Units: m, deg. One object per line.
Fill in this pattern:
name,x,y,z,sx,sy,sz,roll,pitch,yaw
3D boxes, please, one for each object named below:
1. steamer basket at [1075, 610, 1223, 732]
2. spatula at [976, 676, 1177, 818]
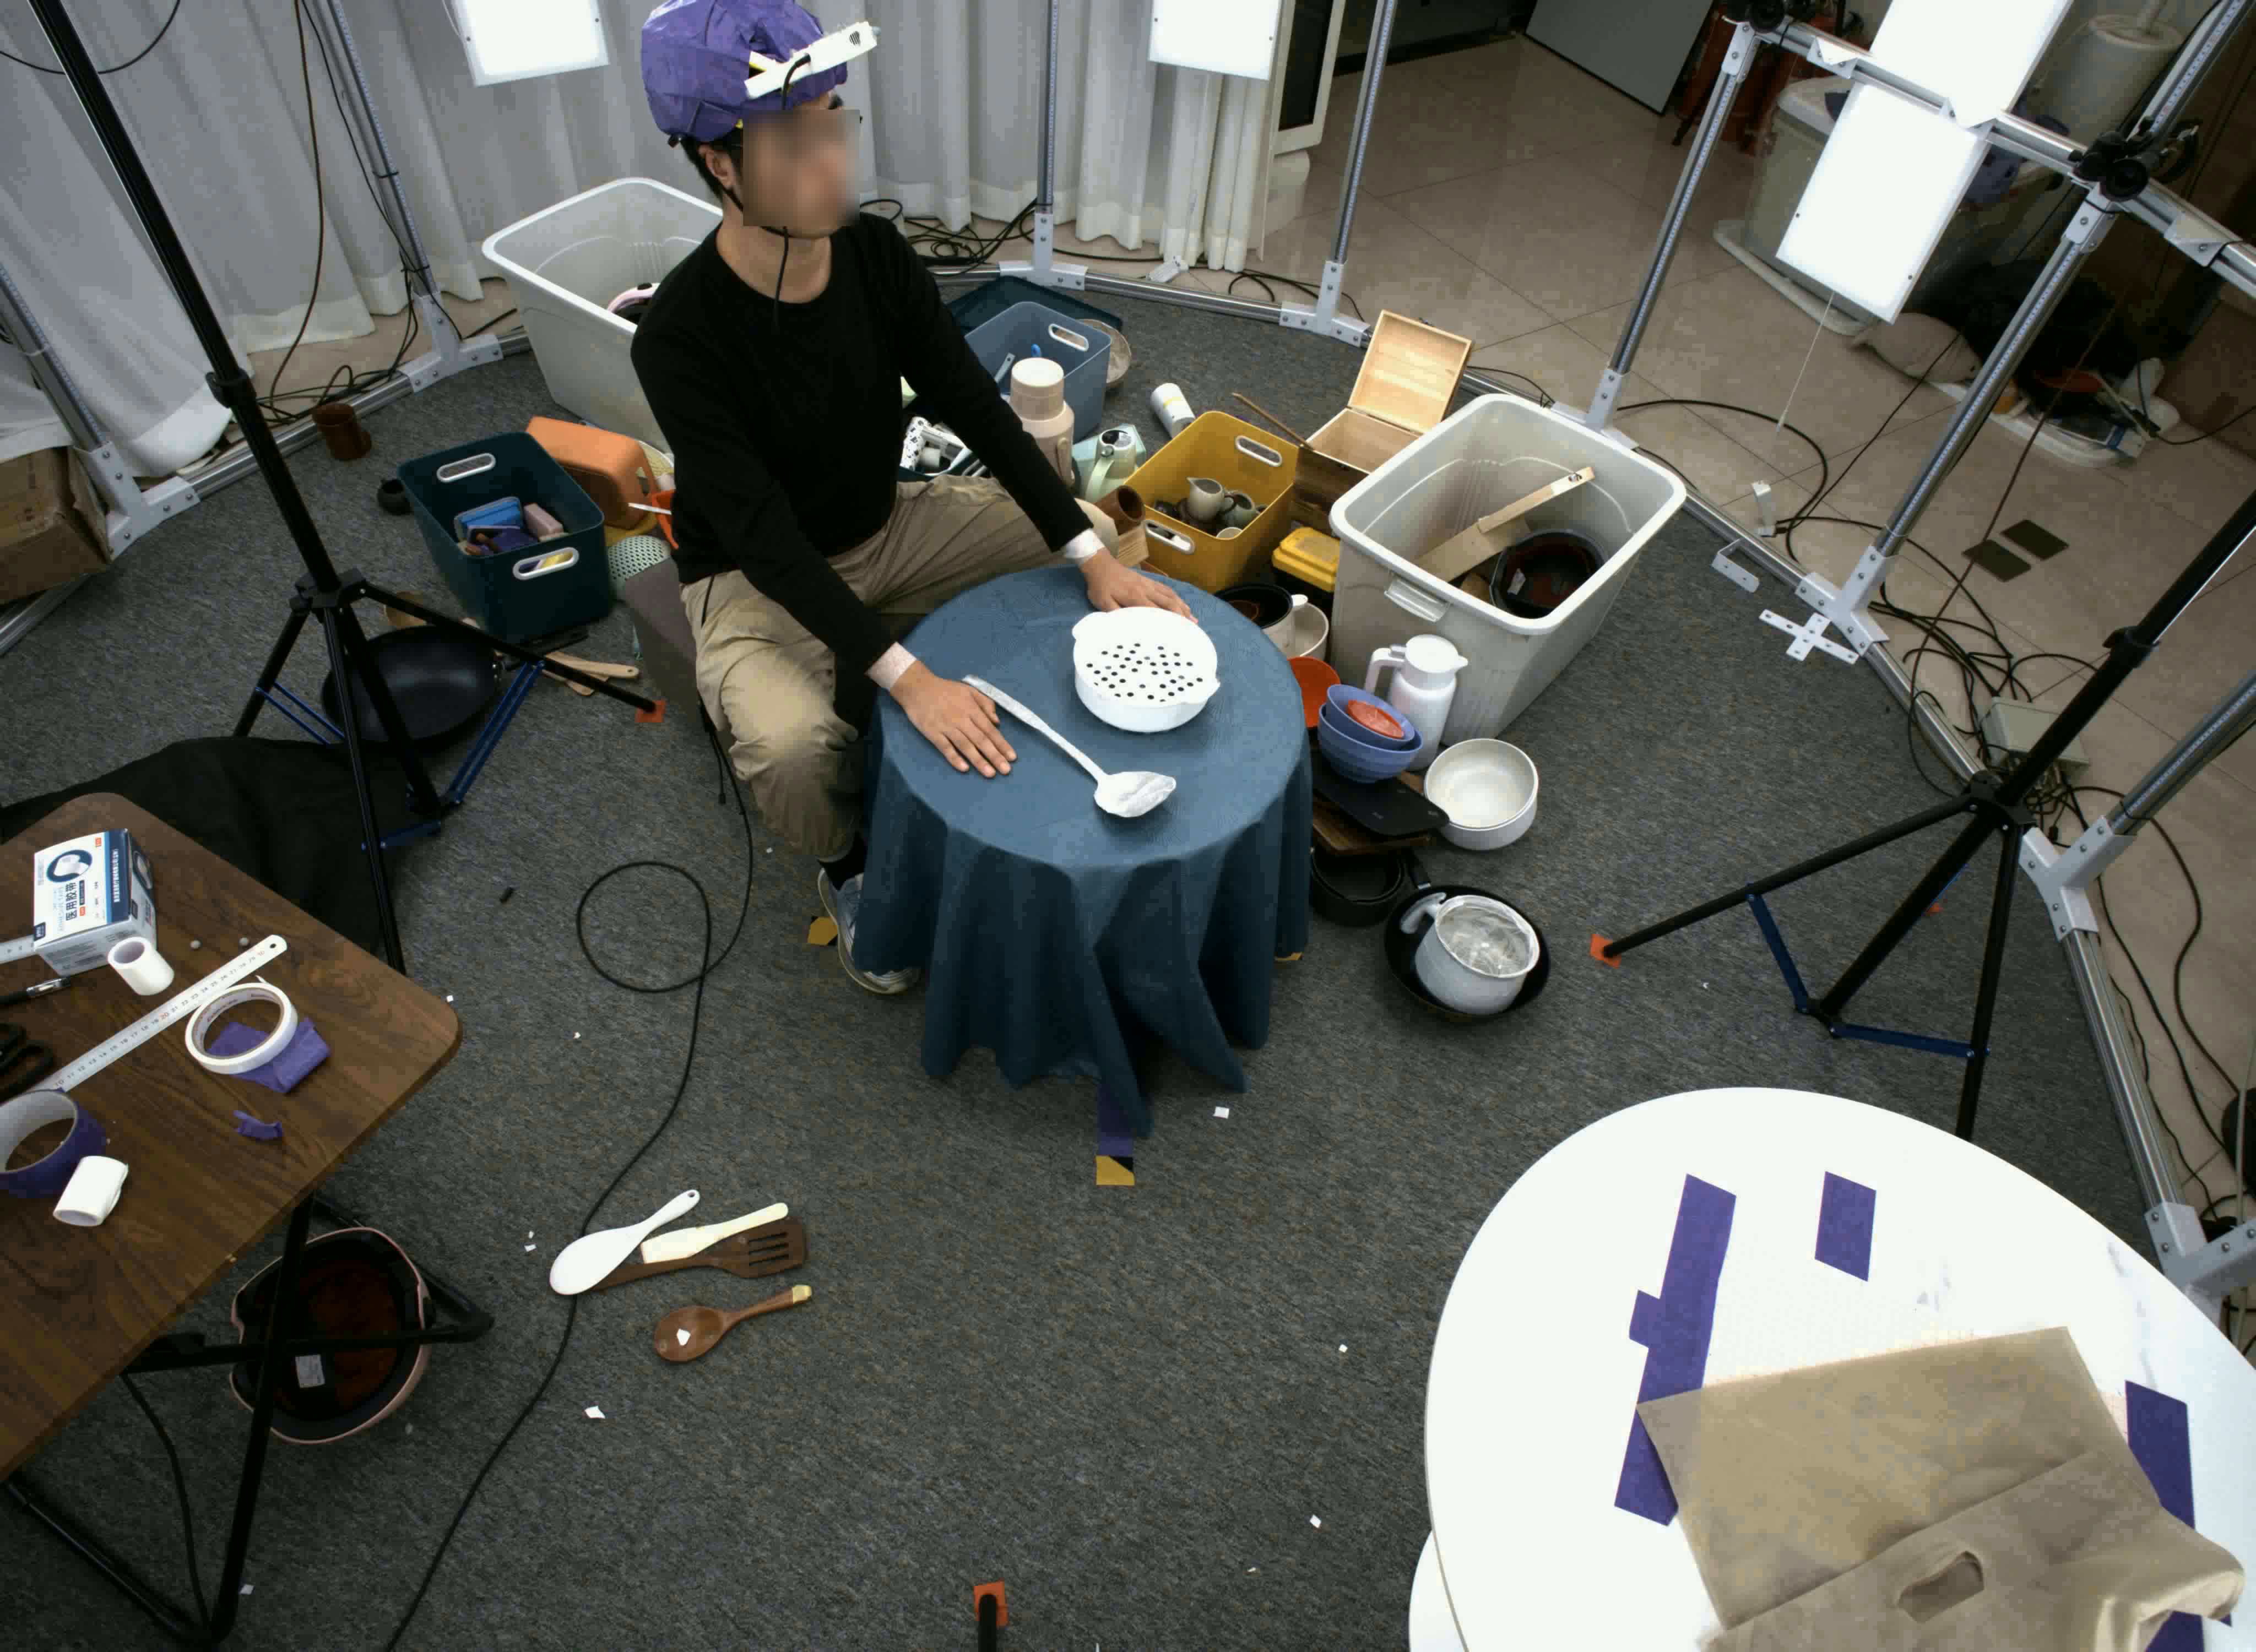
steamer basket,0.026,-0.218,1.816,0.233,0.067,0.204,32,53,23
spatula,-0.089,-0.120,1.743,0.370,0.044,0.099,38,59,26
